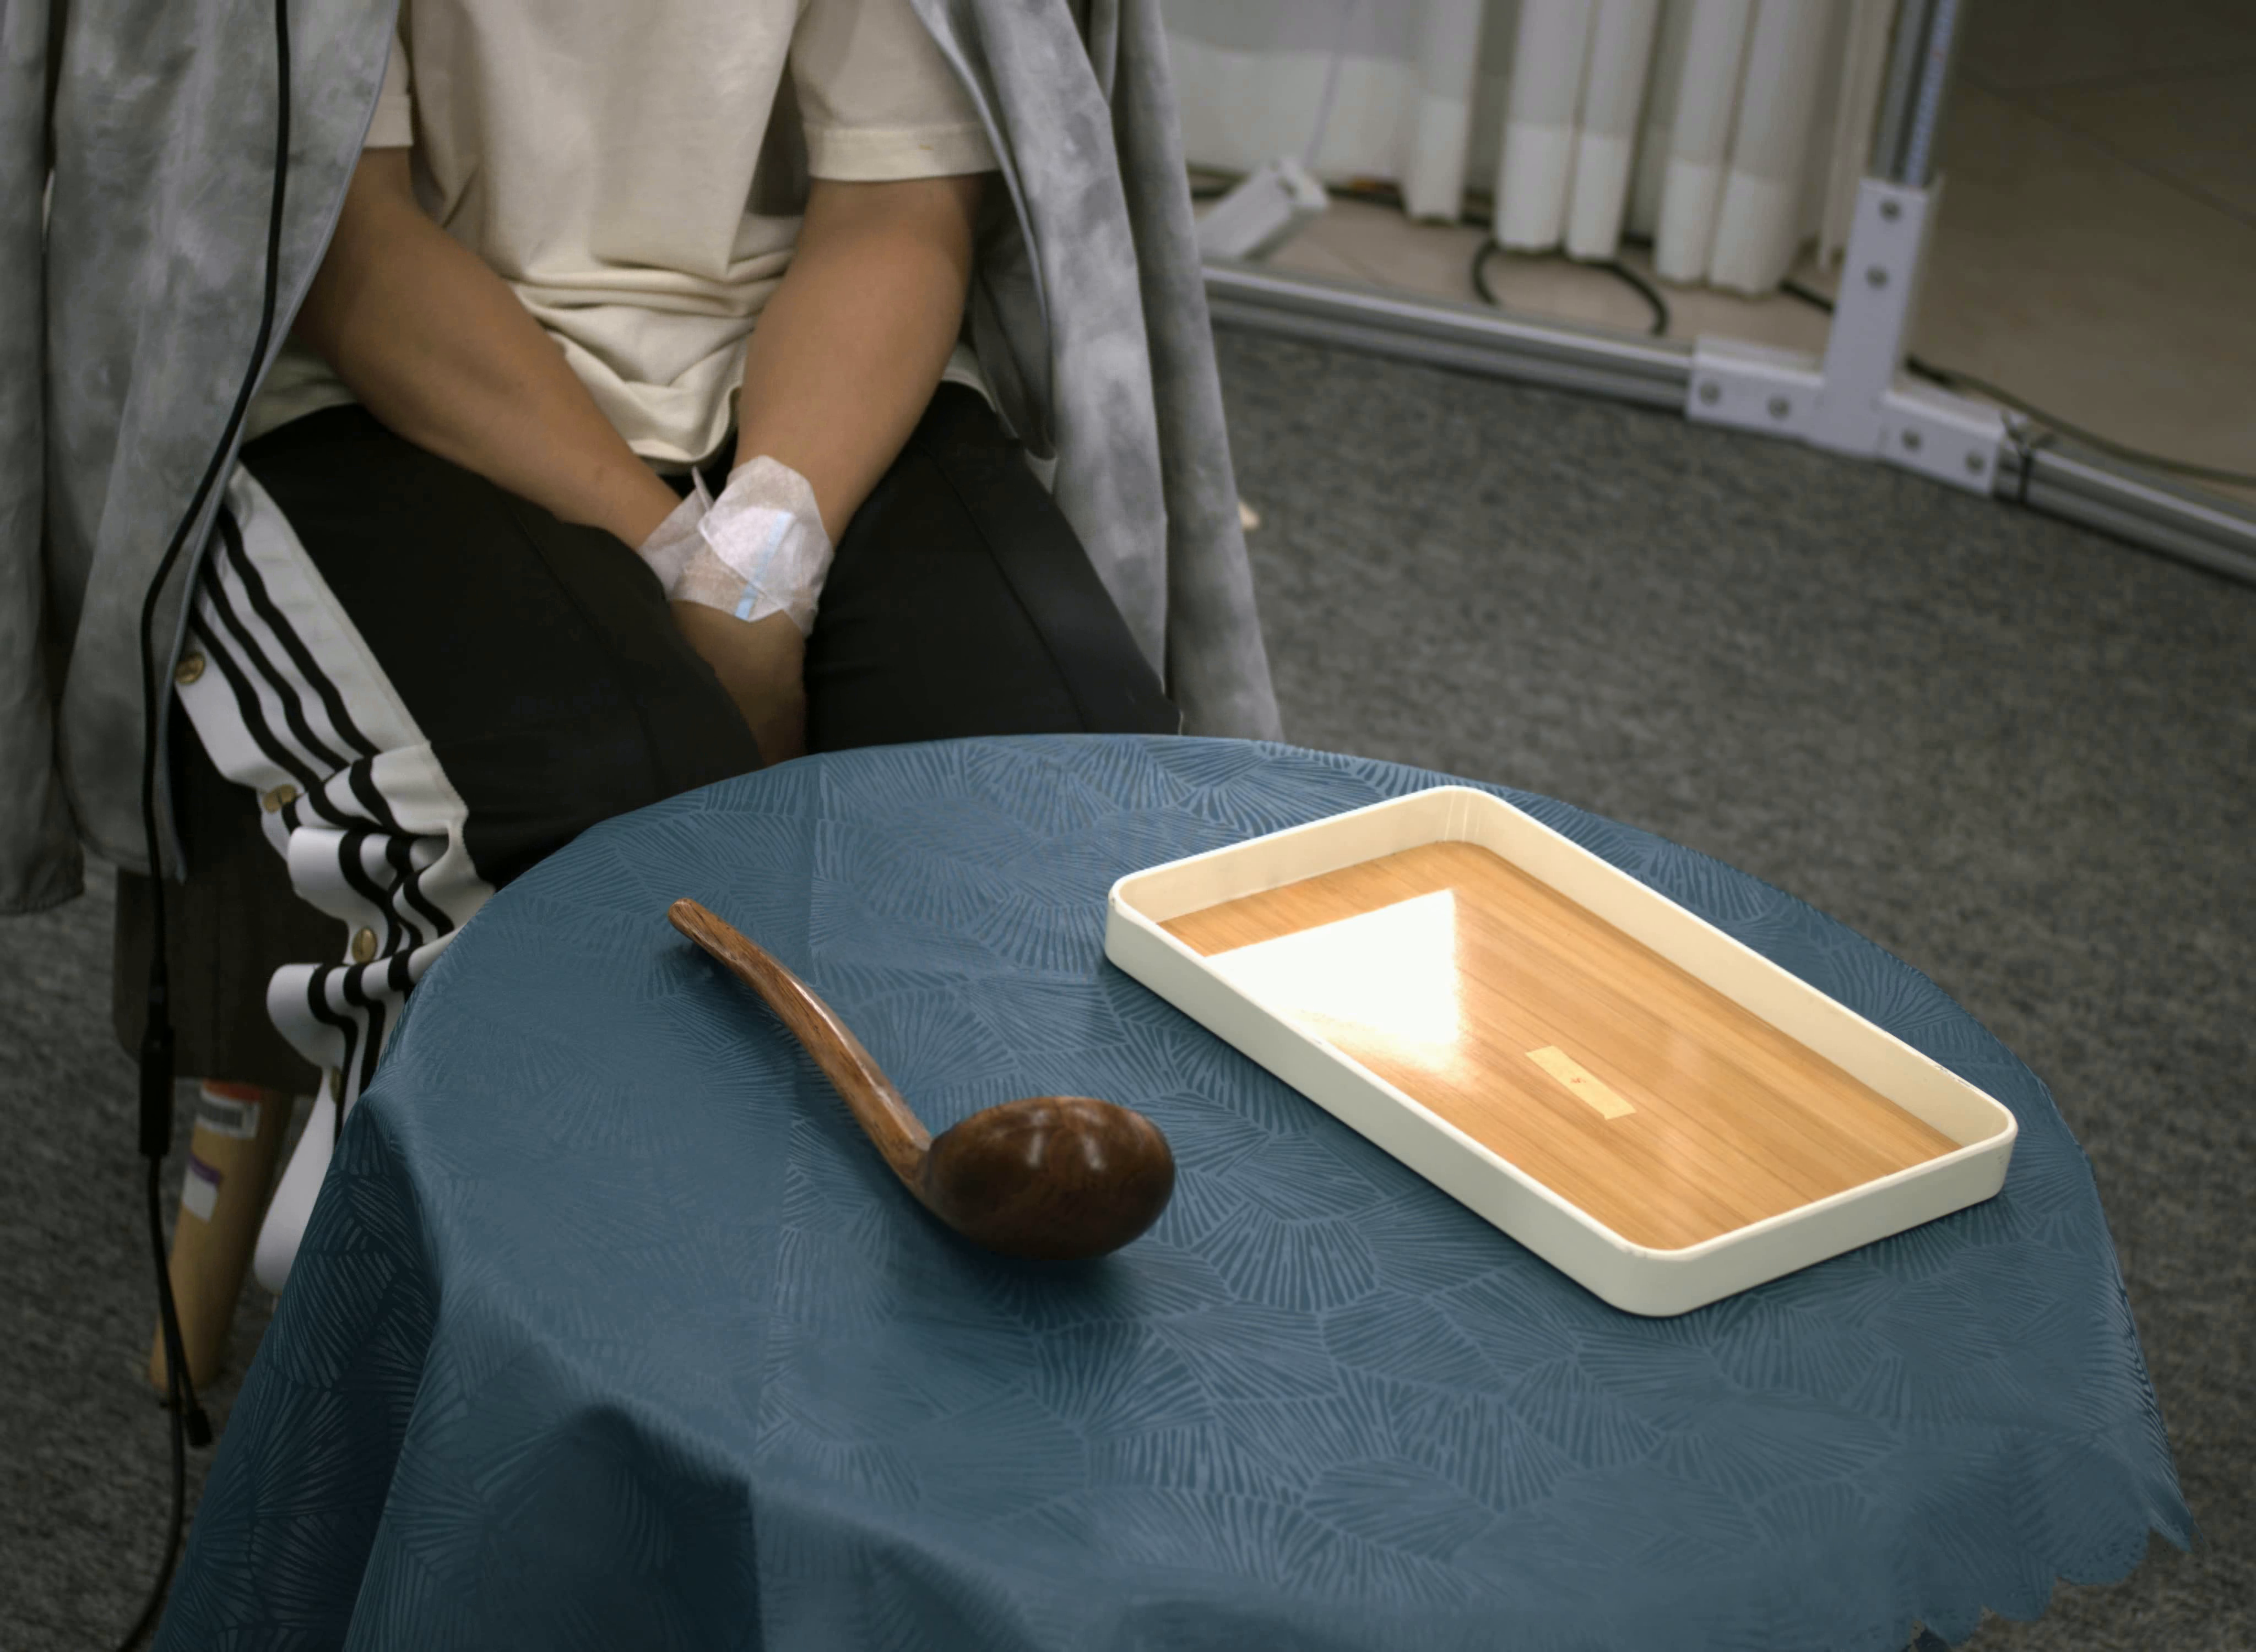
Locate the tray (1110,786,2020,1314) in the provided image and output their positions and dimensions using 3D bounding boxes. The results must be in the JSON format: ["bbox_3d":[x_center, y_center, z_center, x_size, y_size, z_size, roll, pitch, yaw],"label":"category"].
[{"bbox_3d":[0.152,0.074,1.906,0.190,0.027,0.303,-15,34,-36],"label":"tray"}]

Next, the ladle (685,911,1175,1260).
[{"bbox_3d":[-0.074,0.069,1.819,0.081,0.076,0.276,40,2,-38],"label":"ladle"}]
